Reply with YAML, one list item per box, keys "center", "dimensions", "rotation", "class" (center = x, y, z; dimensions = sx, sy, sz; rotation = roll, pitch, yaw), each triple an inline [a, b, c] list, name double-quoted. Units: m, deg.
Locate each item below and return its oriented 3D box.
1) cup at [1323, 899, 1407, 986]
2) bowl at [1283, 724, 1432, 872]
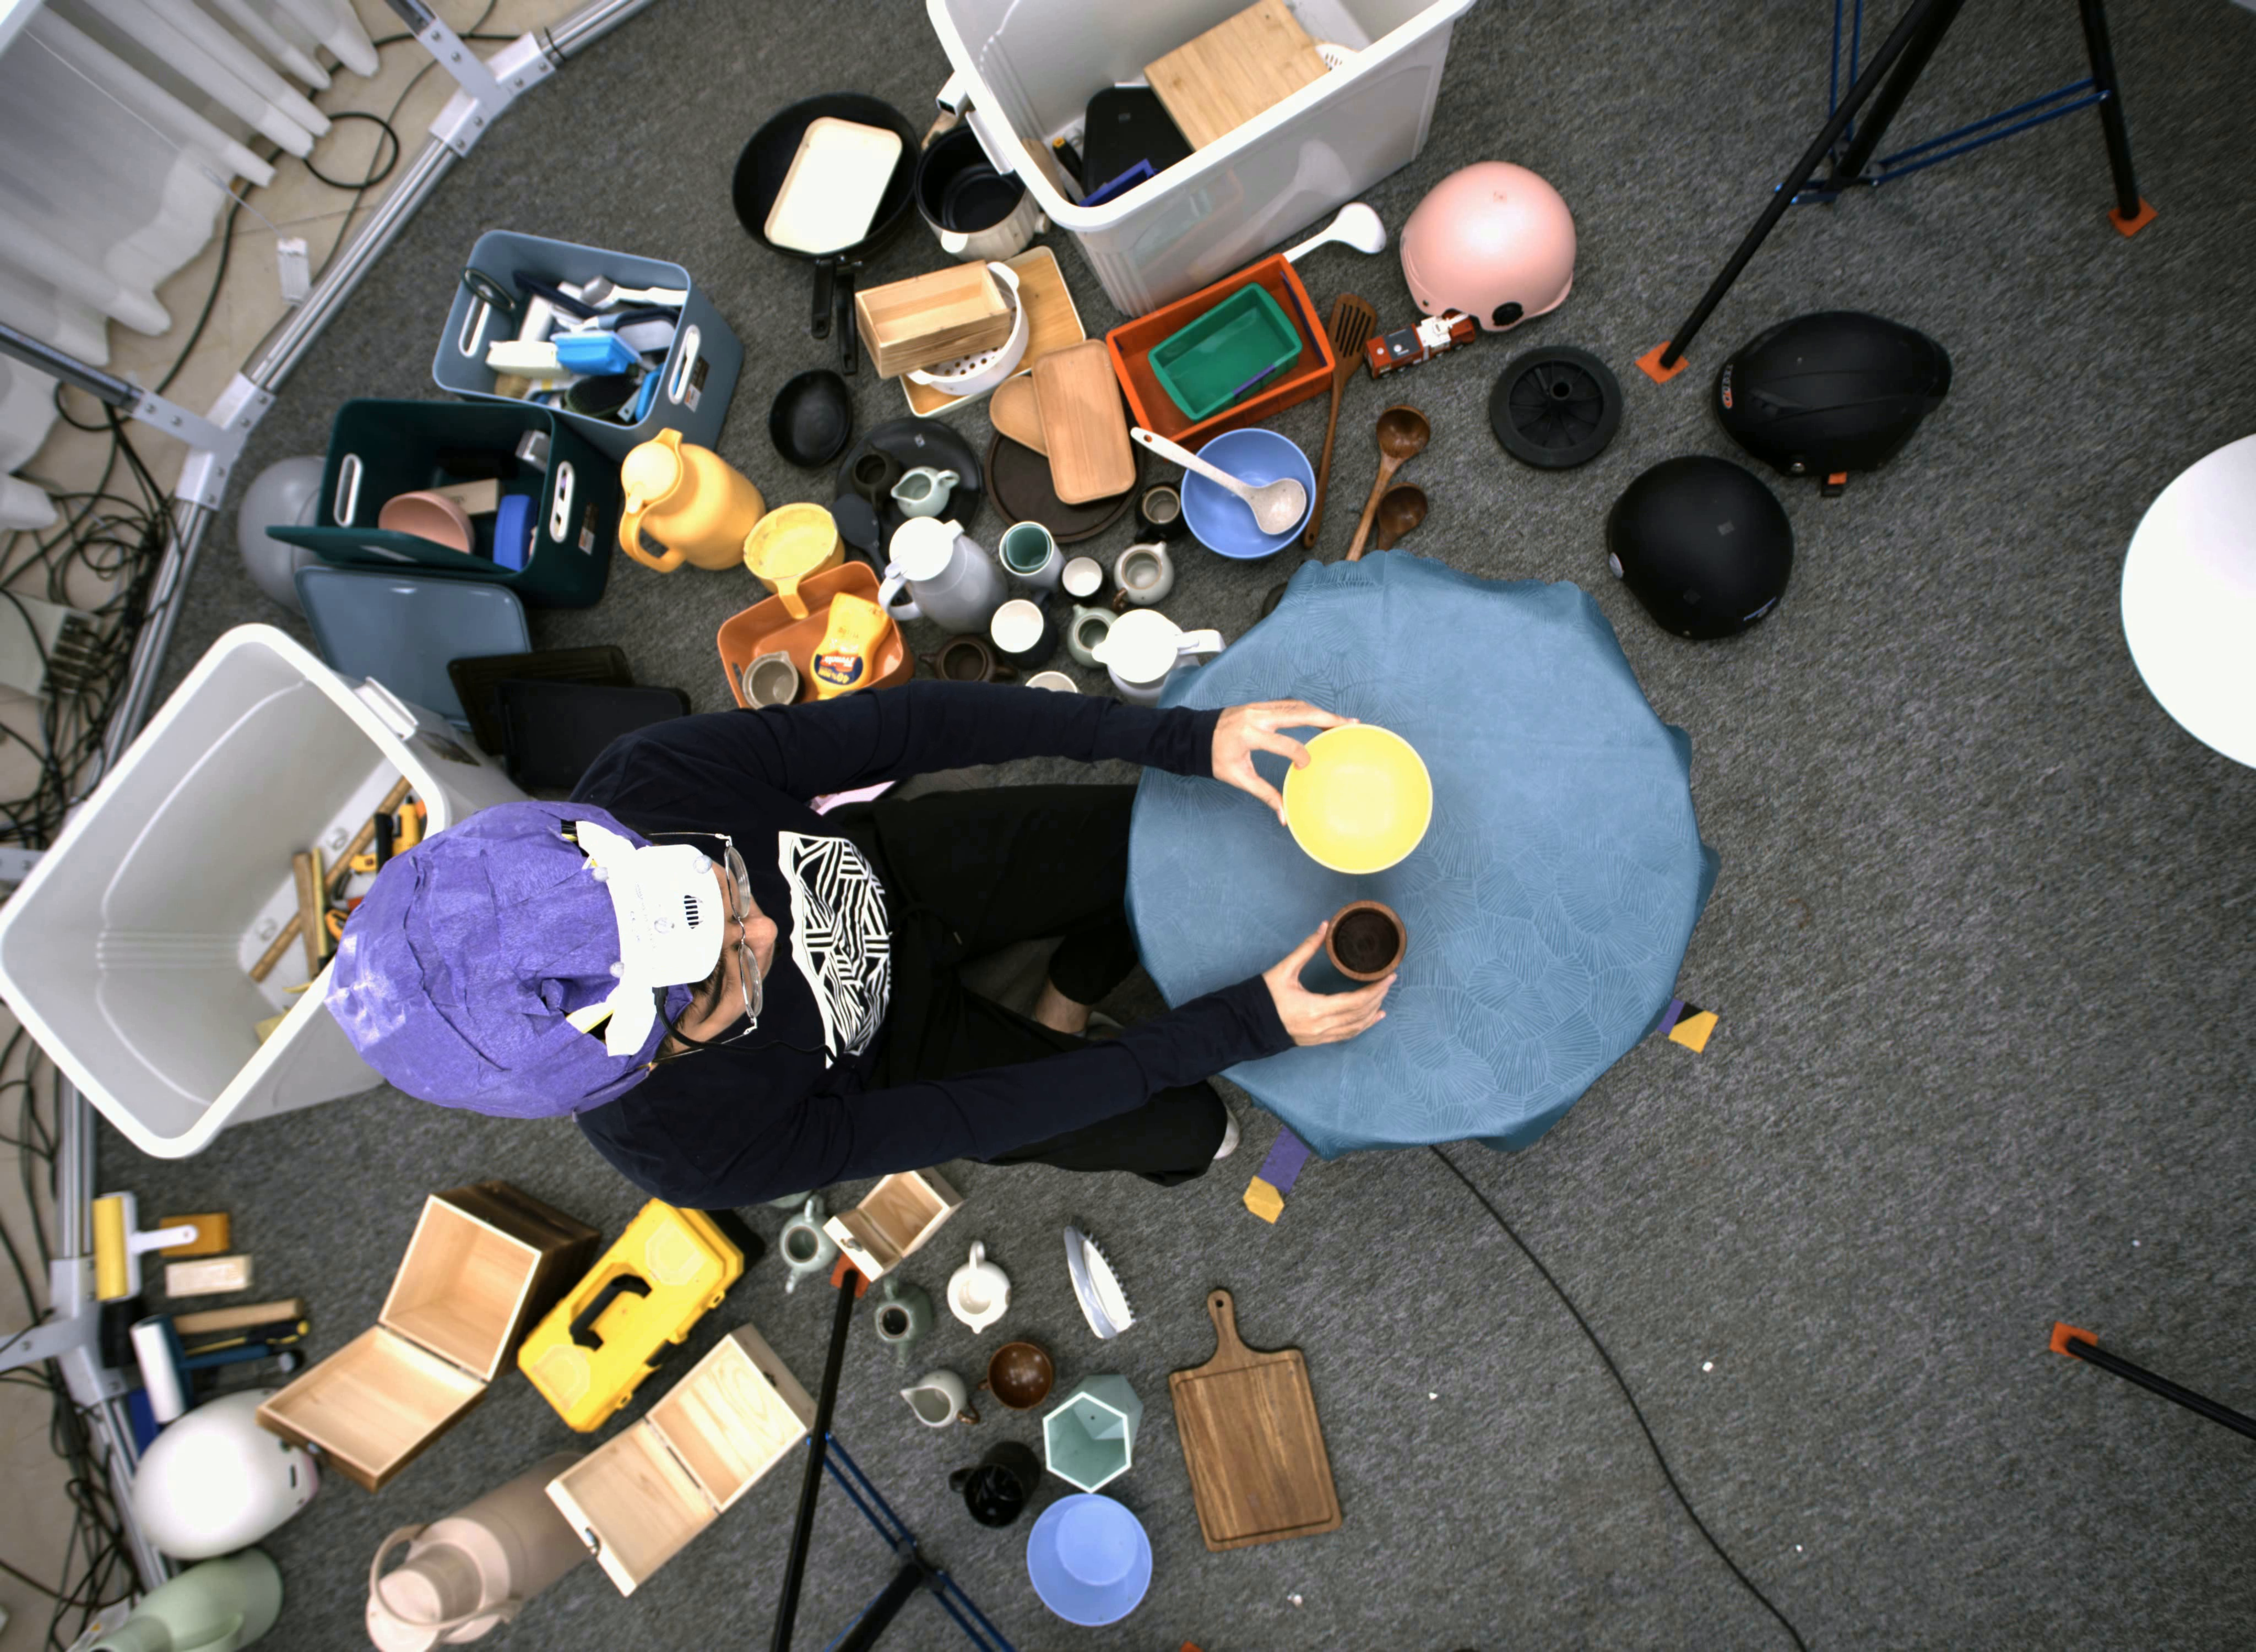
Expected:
- center: [0.241, 0.121, 1.402]
  dimensions: [0.088, 0.119, 0.087]
  rotation: [-2, 81, 11]
  class: "cup"
- center: [0.227, -0.027, 1.366]
  dimensions: [0.146, 0.060, 0.145]
  rotation: [0, 91, 9]
  class: "bowl"
